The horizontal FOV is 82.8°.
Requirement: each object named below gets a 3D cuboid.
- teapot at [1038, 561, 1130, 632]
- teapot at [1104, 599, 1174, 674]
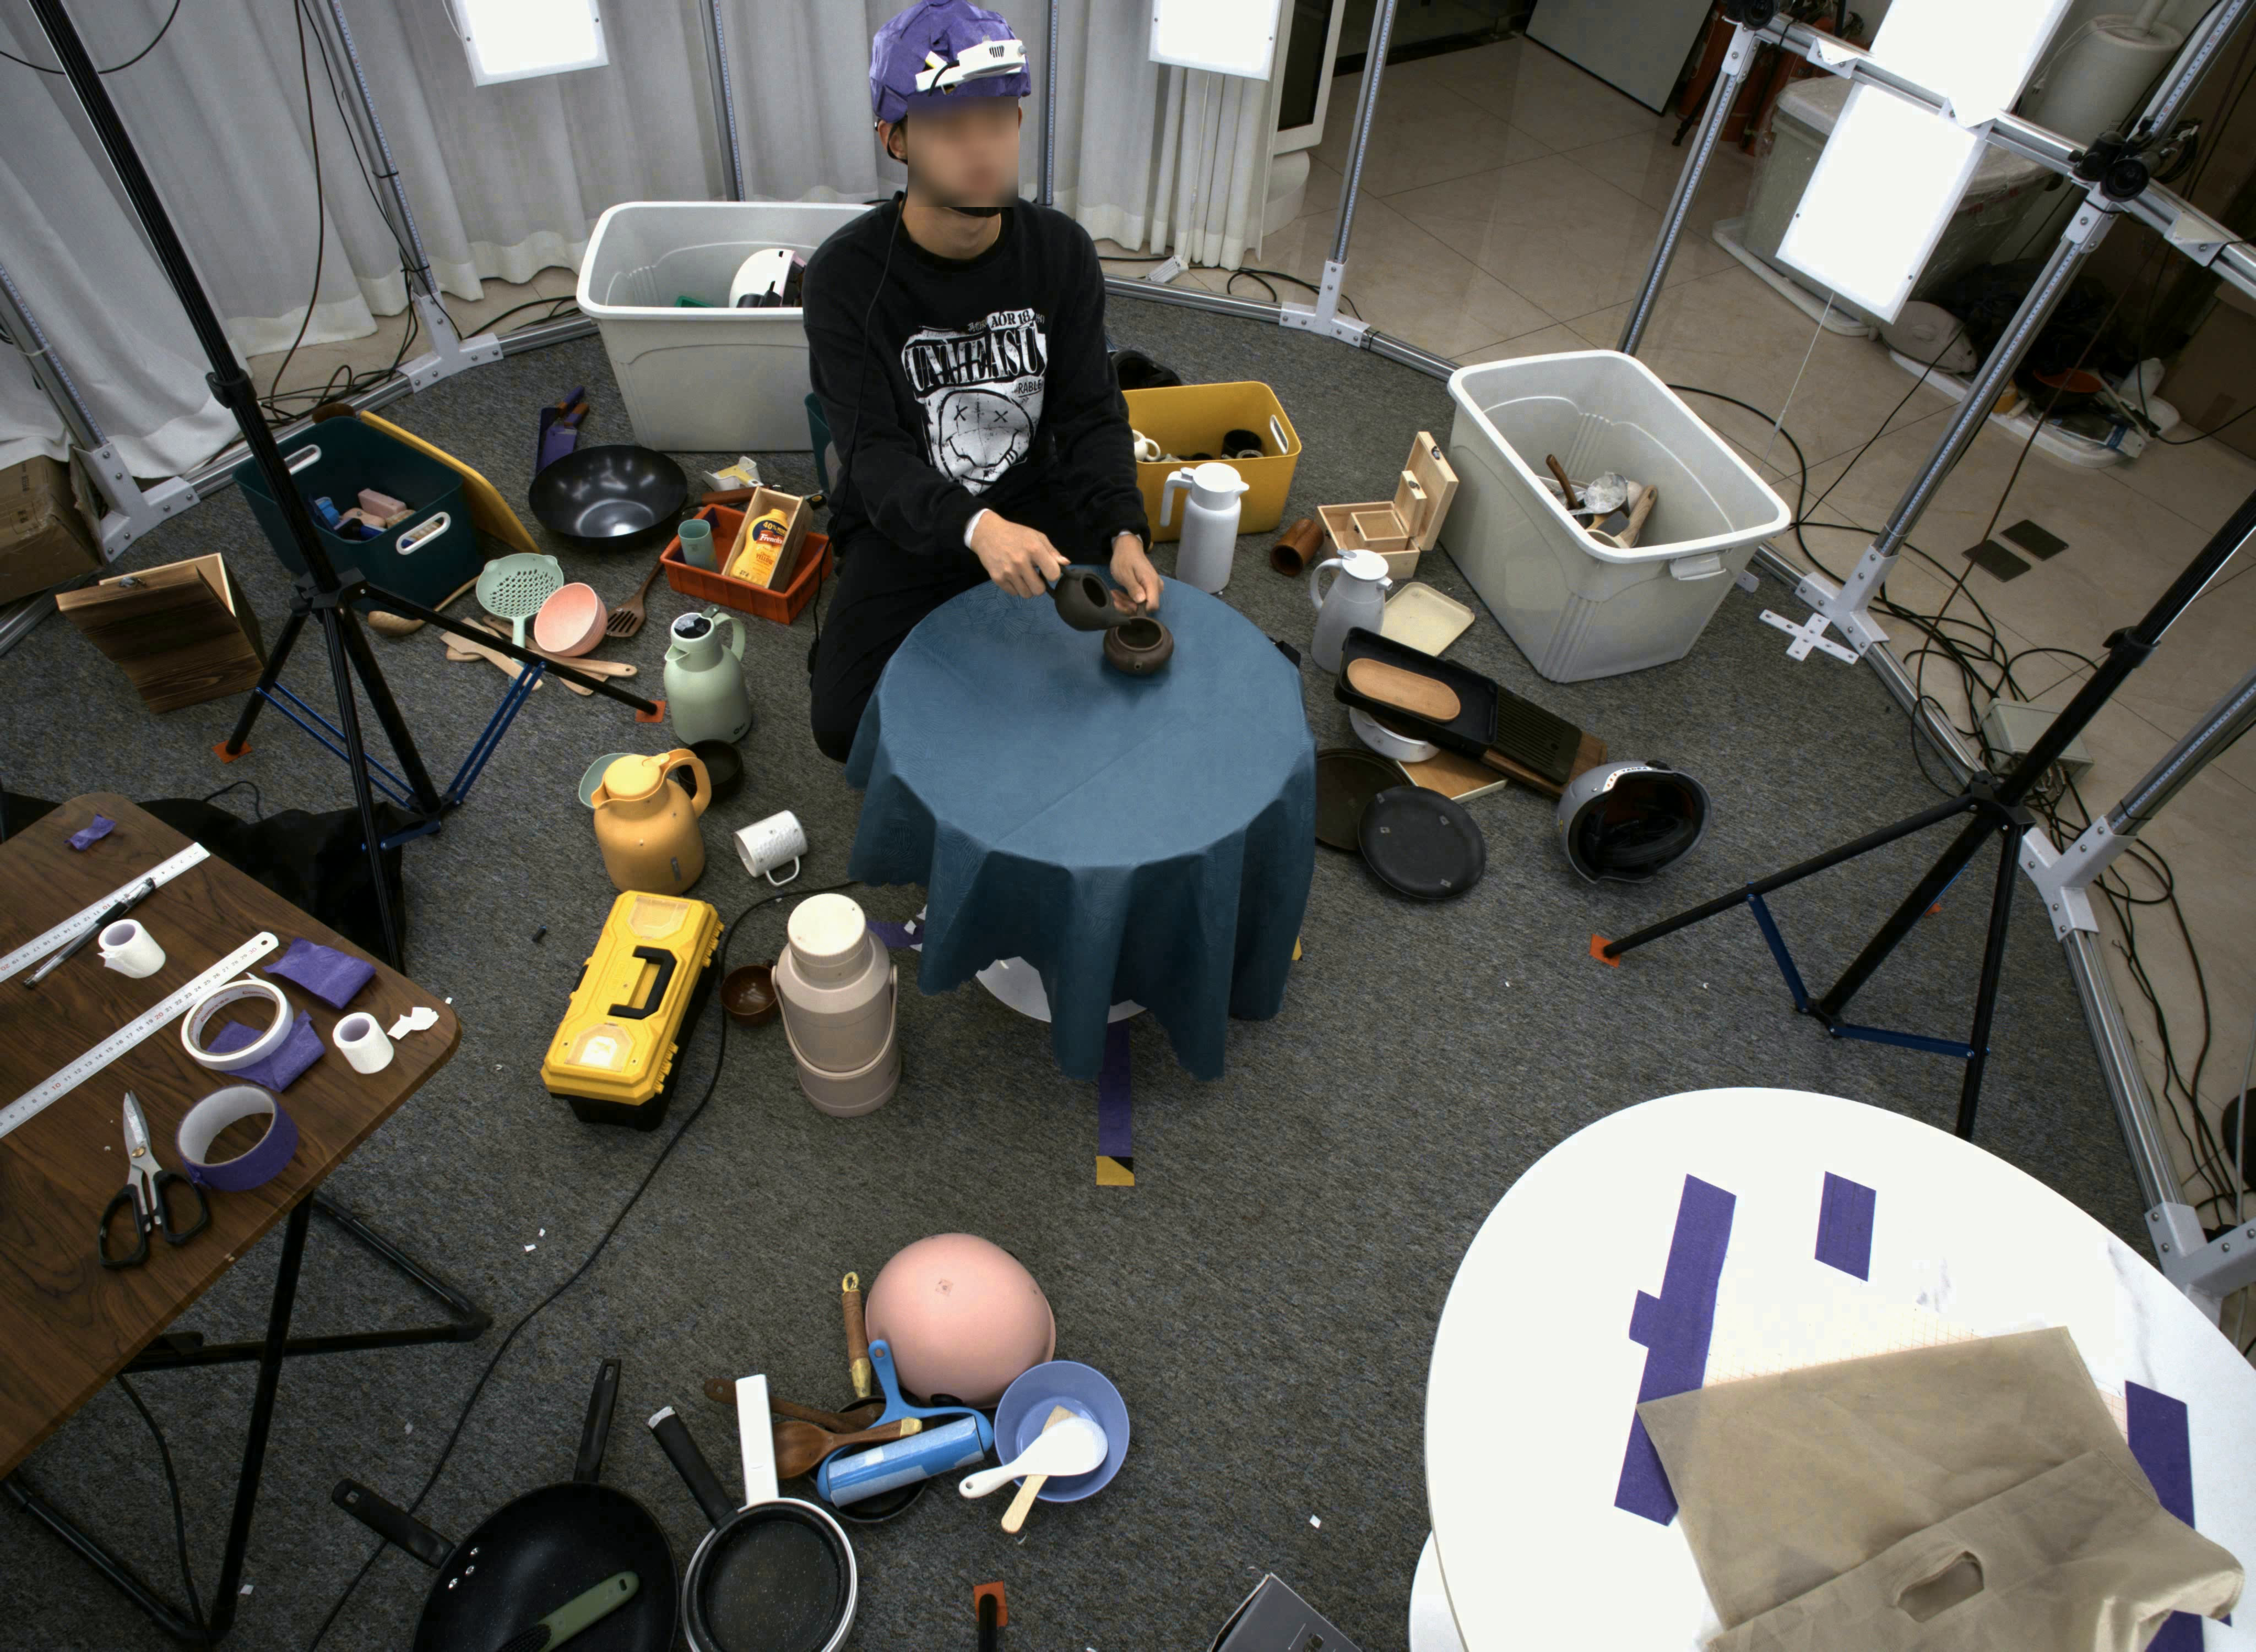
[{"bbox_3d":[-0.064,-0.315,1.788,0.152,0.064,0.094,35,41,-28],"label":"teapot"},{"bbox_3d":[0.016,-0.269,1.866,0.102,0.052,0.157,1,52,-5],"label":"teapot"}]
